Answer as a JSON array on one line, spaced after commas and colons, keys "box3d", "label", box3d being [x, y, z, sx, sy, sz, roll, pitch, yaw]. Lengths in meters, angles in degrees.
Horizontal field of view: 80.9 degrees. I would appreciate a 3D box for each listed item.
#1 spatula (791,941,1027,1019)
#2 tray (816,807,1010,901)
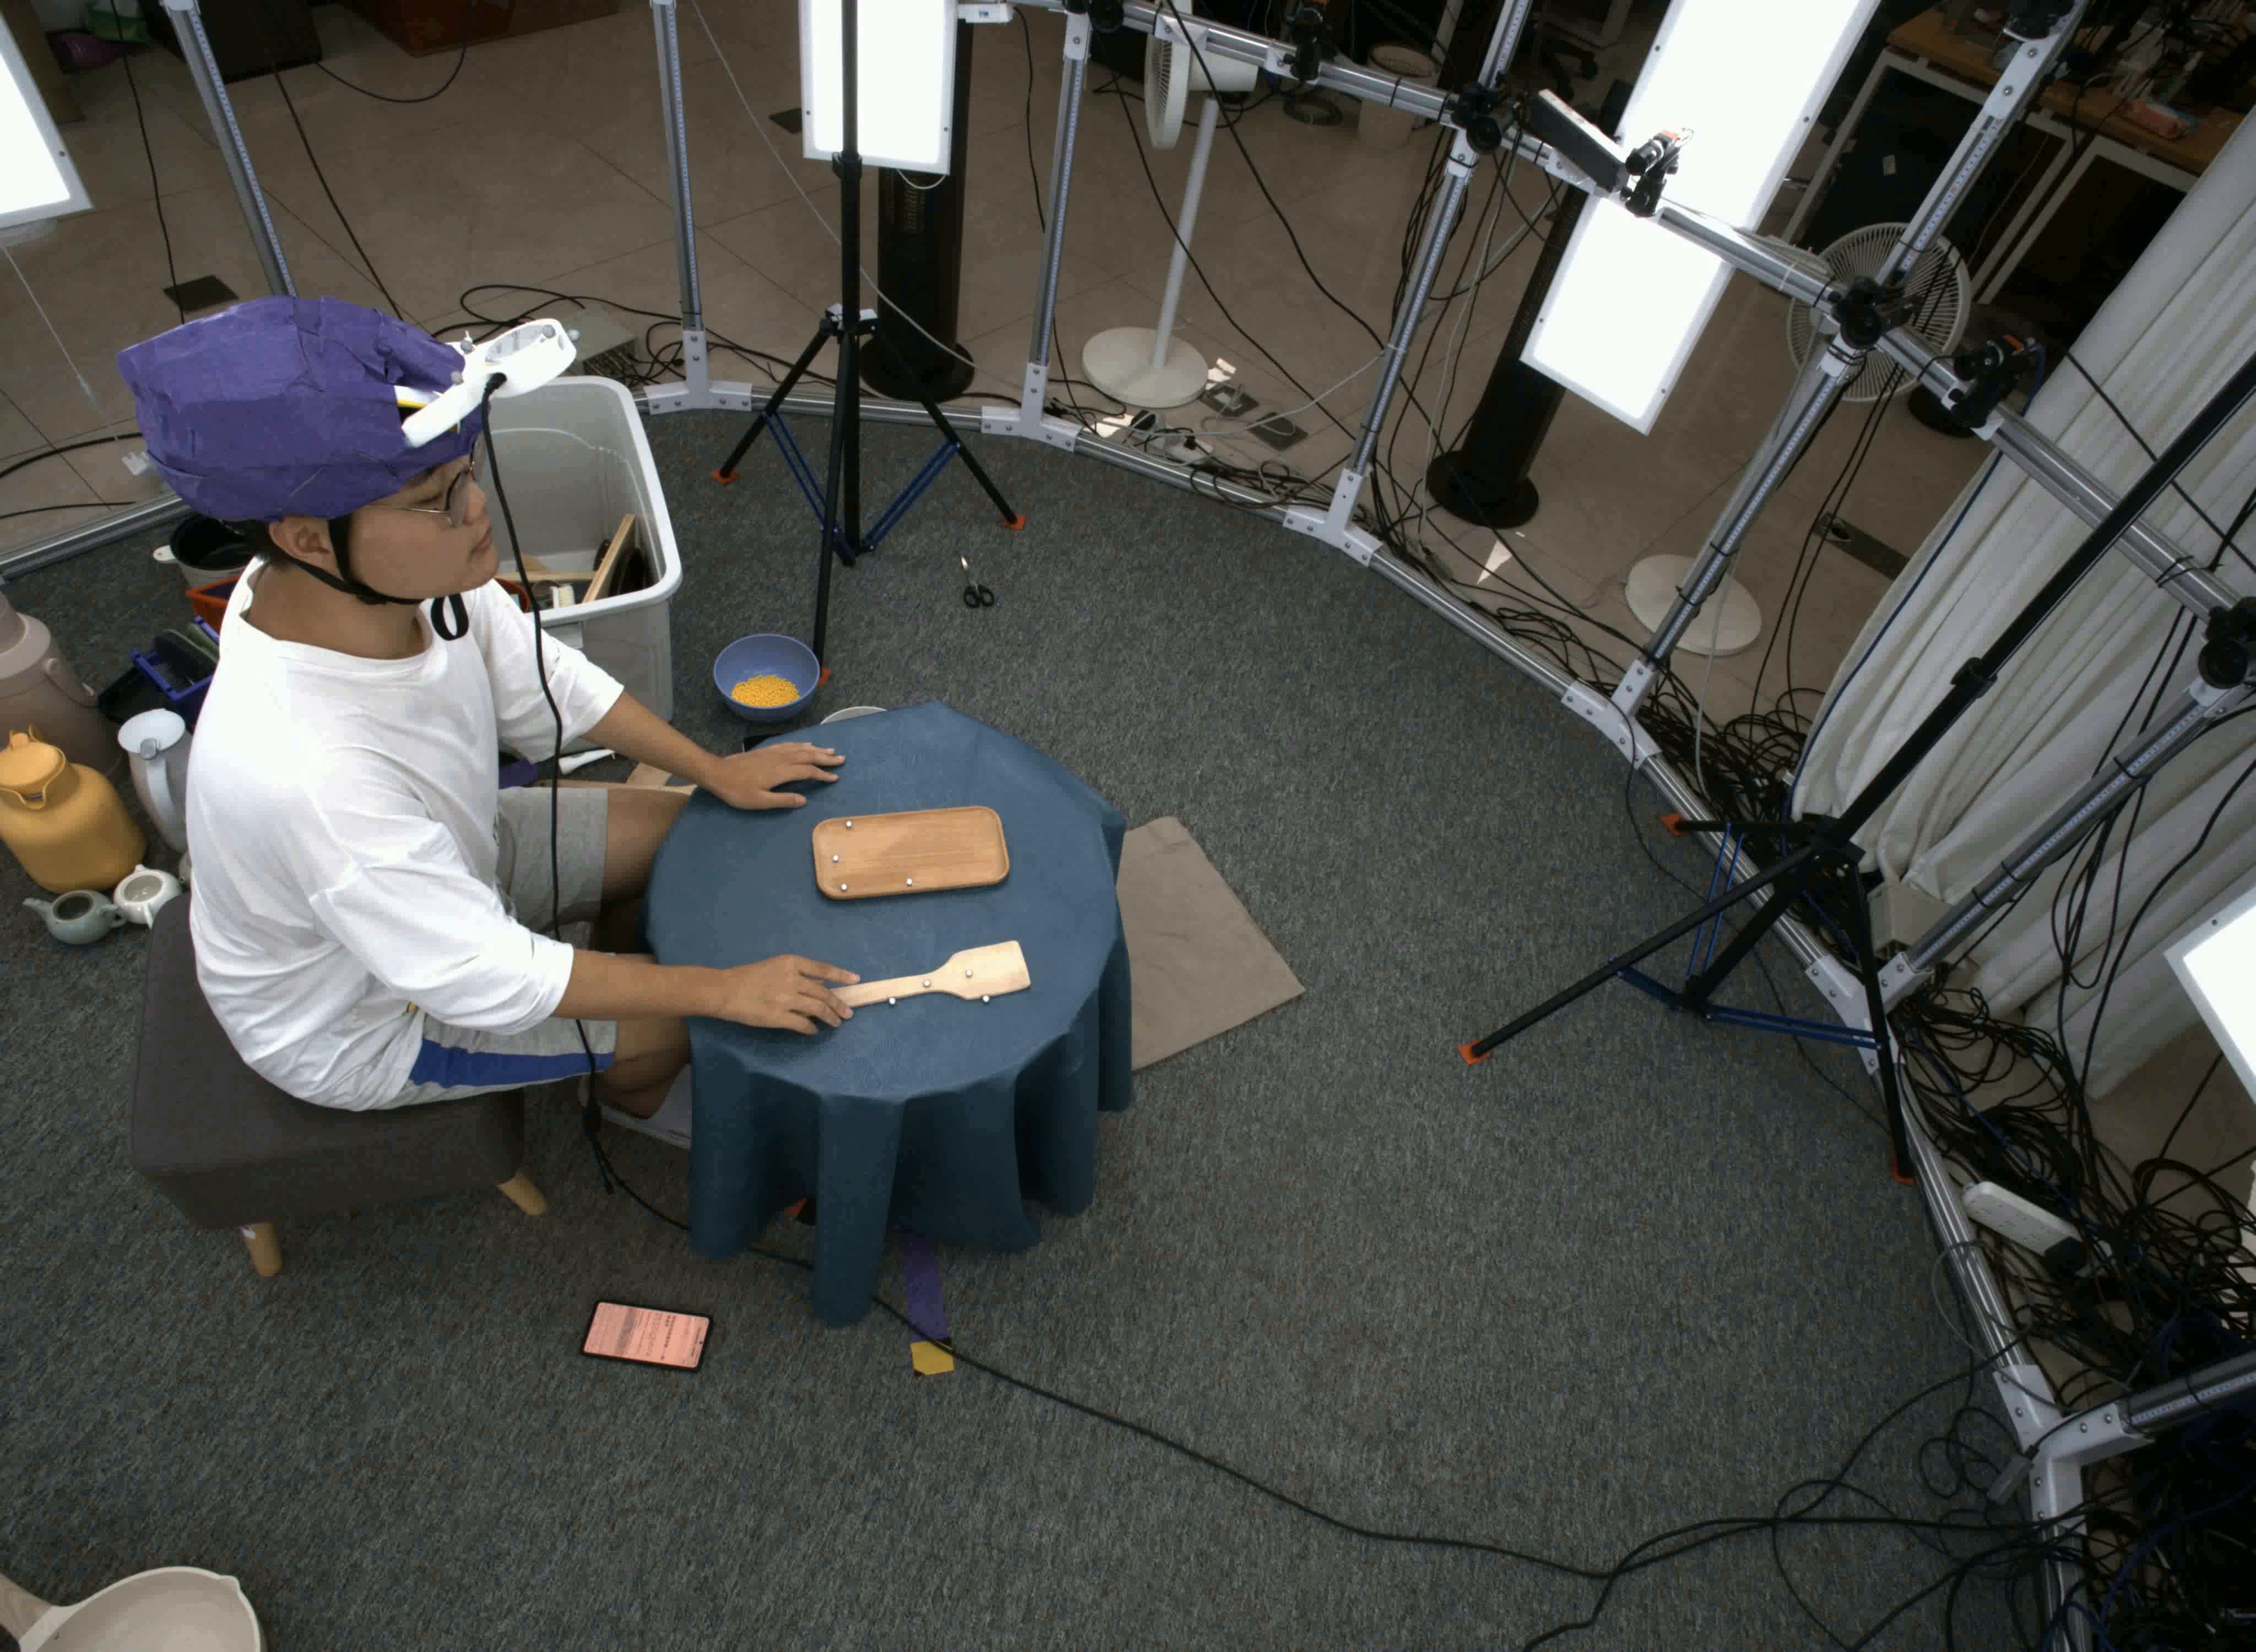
[{"box3d": [-0.272, 0.198, 1.618, 0.294, 0.011, 0.070, -10, 58, -20], "label": "spatula"}, {"box3d": [-0.286, 0.036, 1.731, 0.251, 0.023, 0.128, -4, 57, -16], "label": "tray"}]
